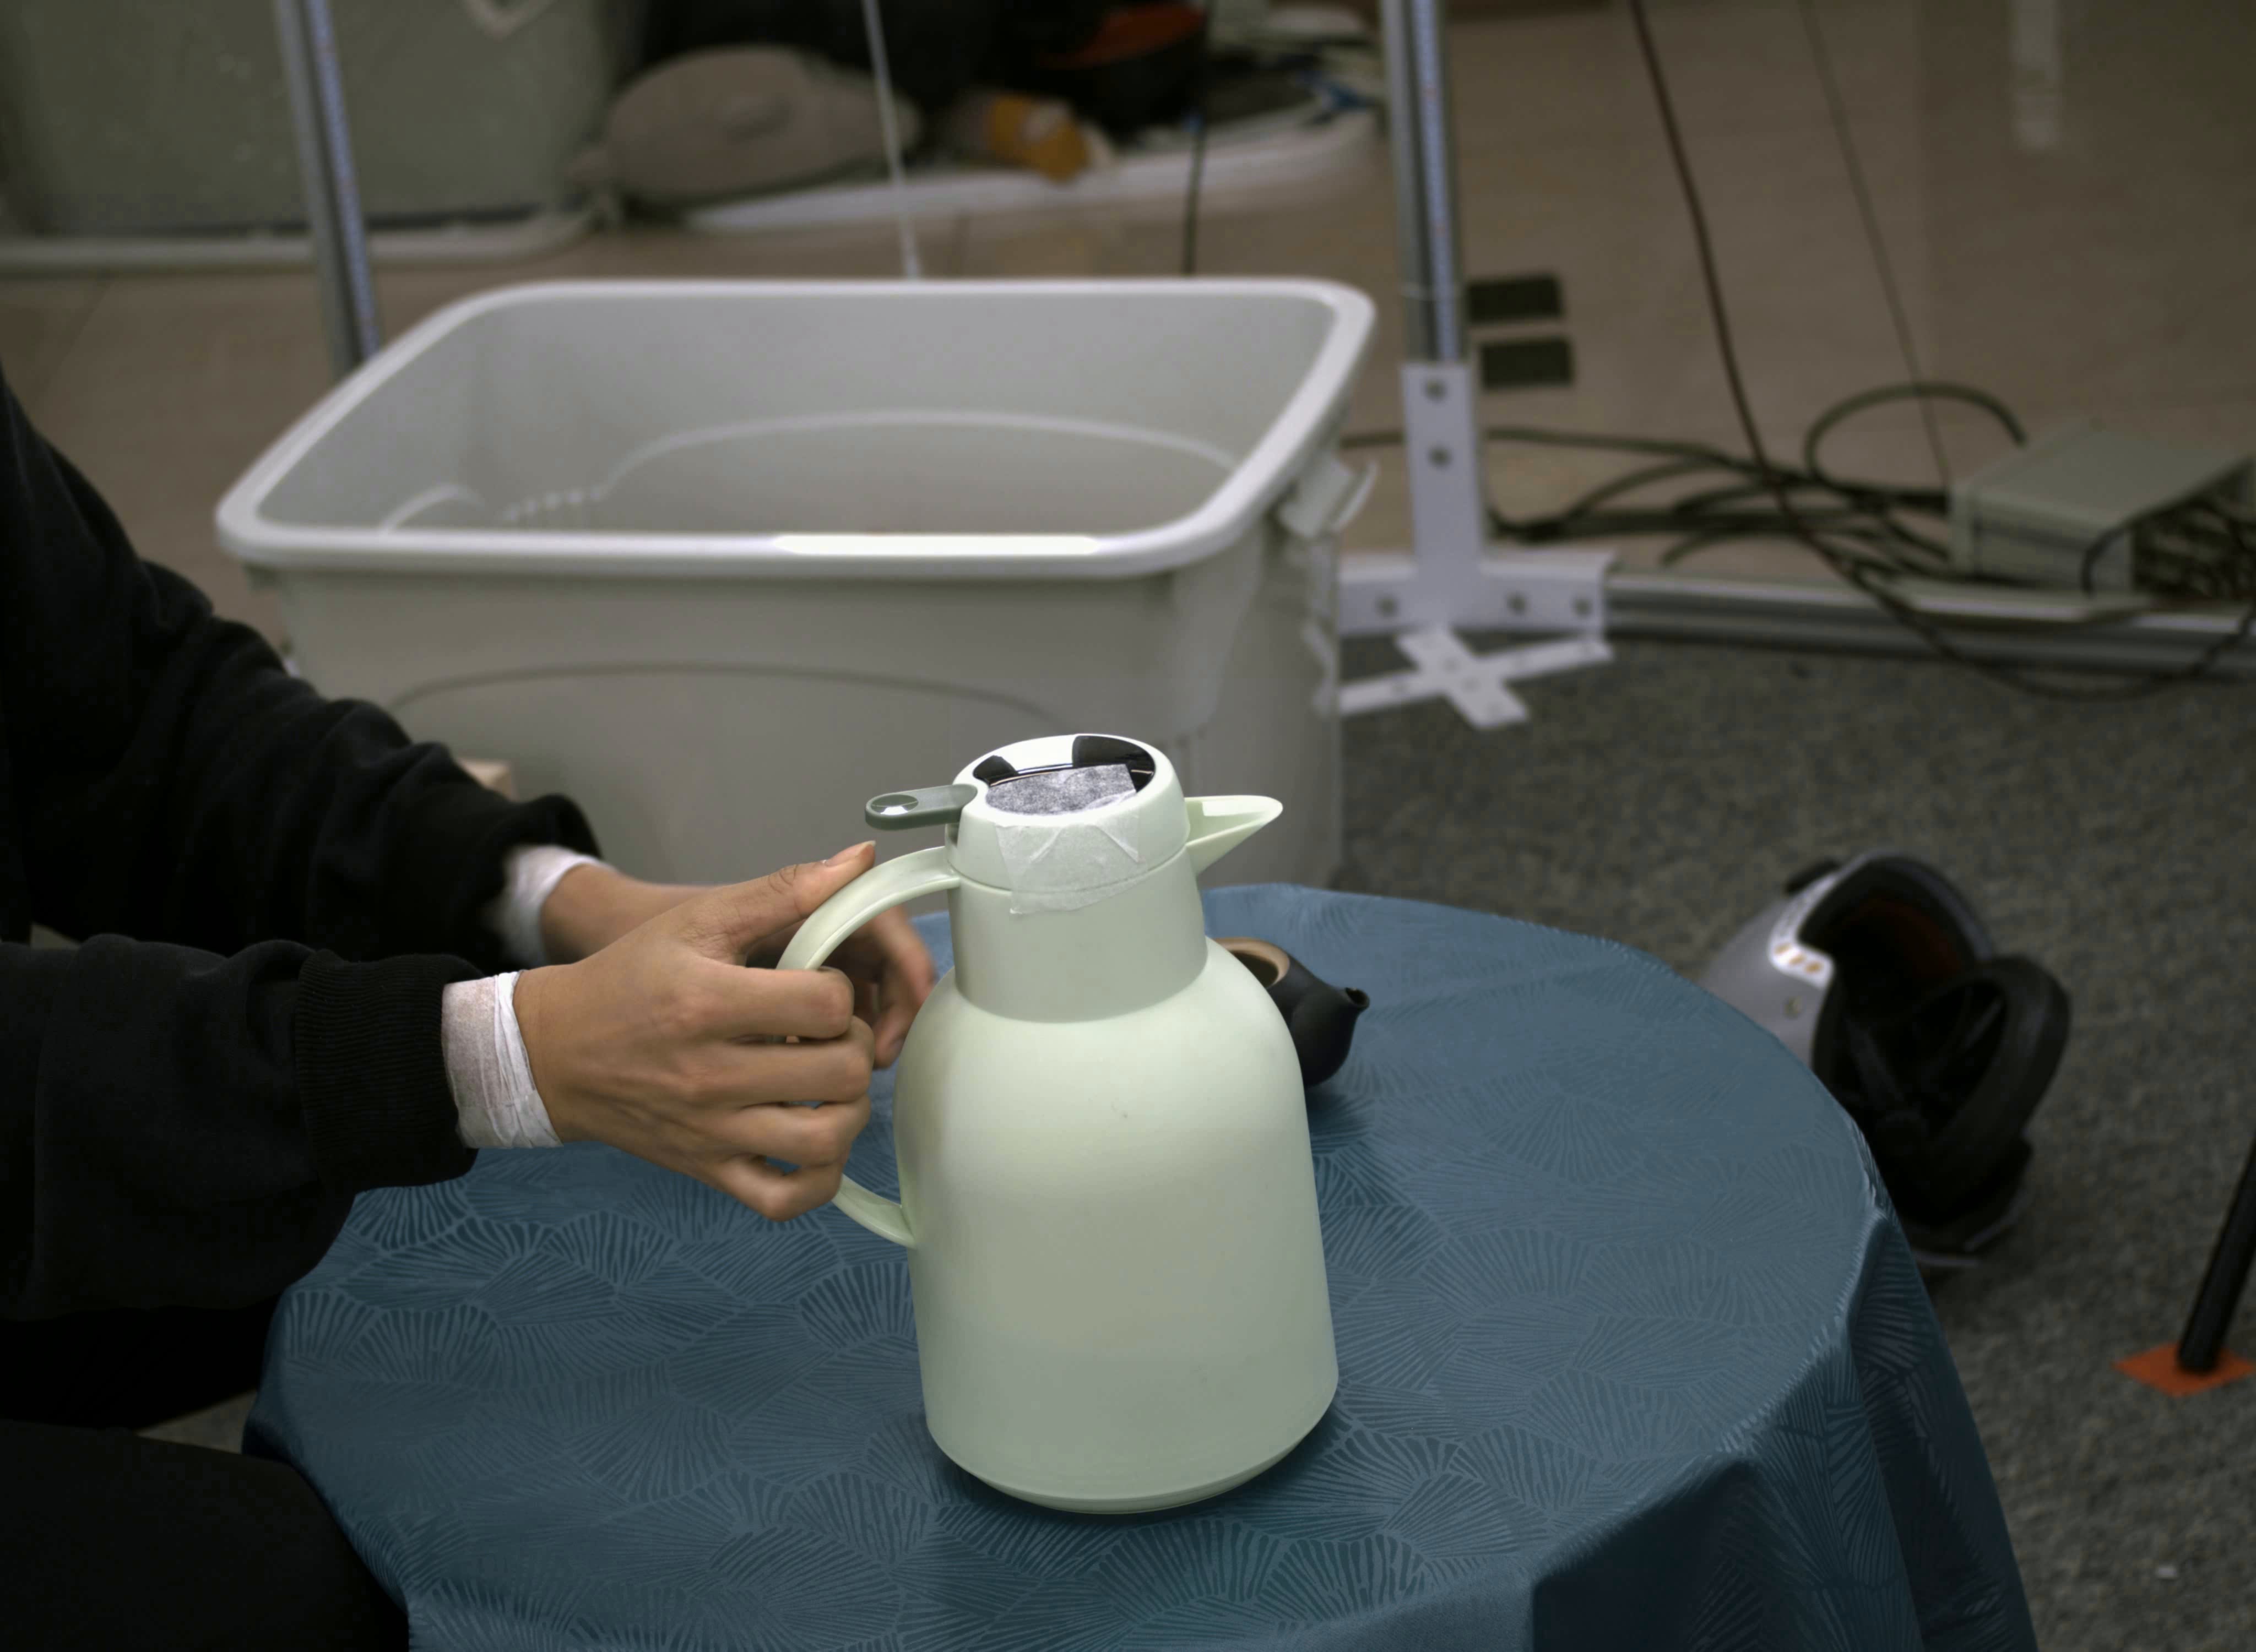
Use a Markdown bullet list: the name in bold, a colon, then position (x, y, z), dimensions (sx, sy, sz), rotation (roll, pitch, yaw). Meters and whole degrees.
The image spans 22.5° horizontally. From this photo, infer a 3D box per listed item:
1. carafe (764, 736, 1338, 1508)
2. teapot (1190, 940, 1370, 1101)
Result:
- **carafe**: position (-0.024, 0.099, 1.941), dimensions (0.186, 0.261, 0.142), rotation (-13, 28, -7)
- **teapot**: position (0.036, 0.079, 2.205), dimensions (0.132, 0.054, 0.090), rotation (8, 27, 29)
